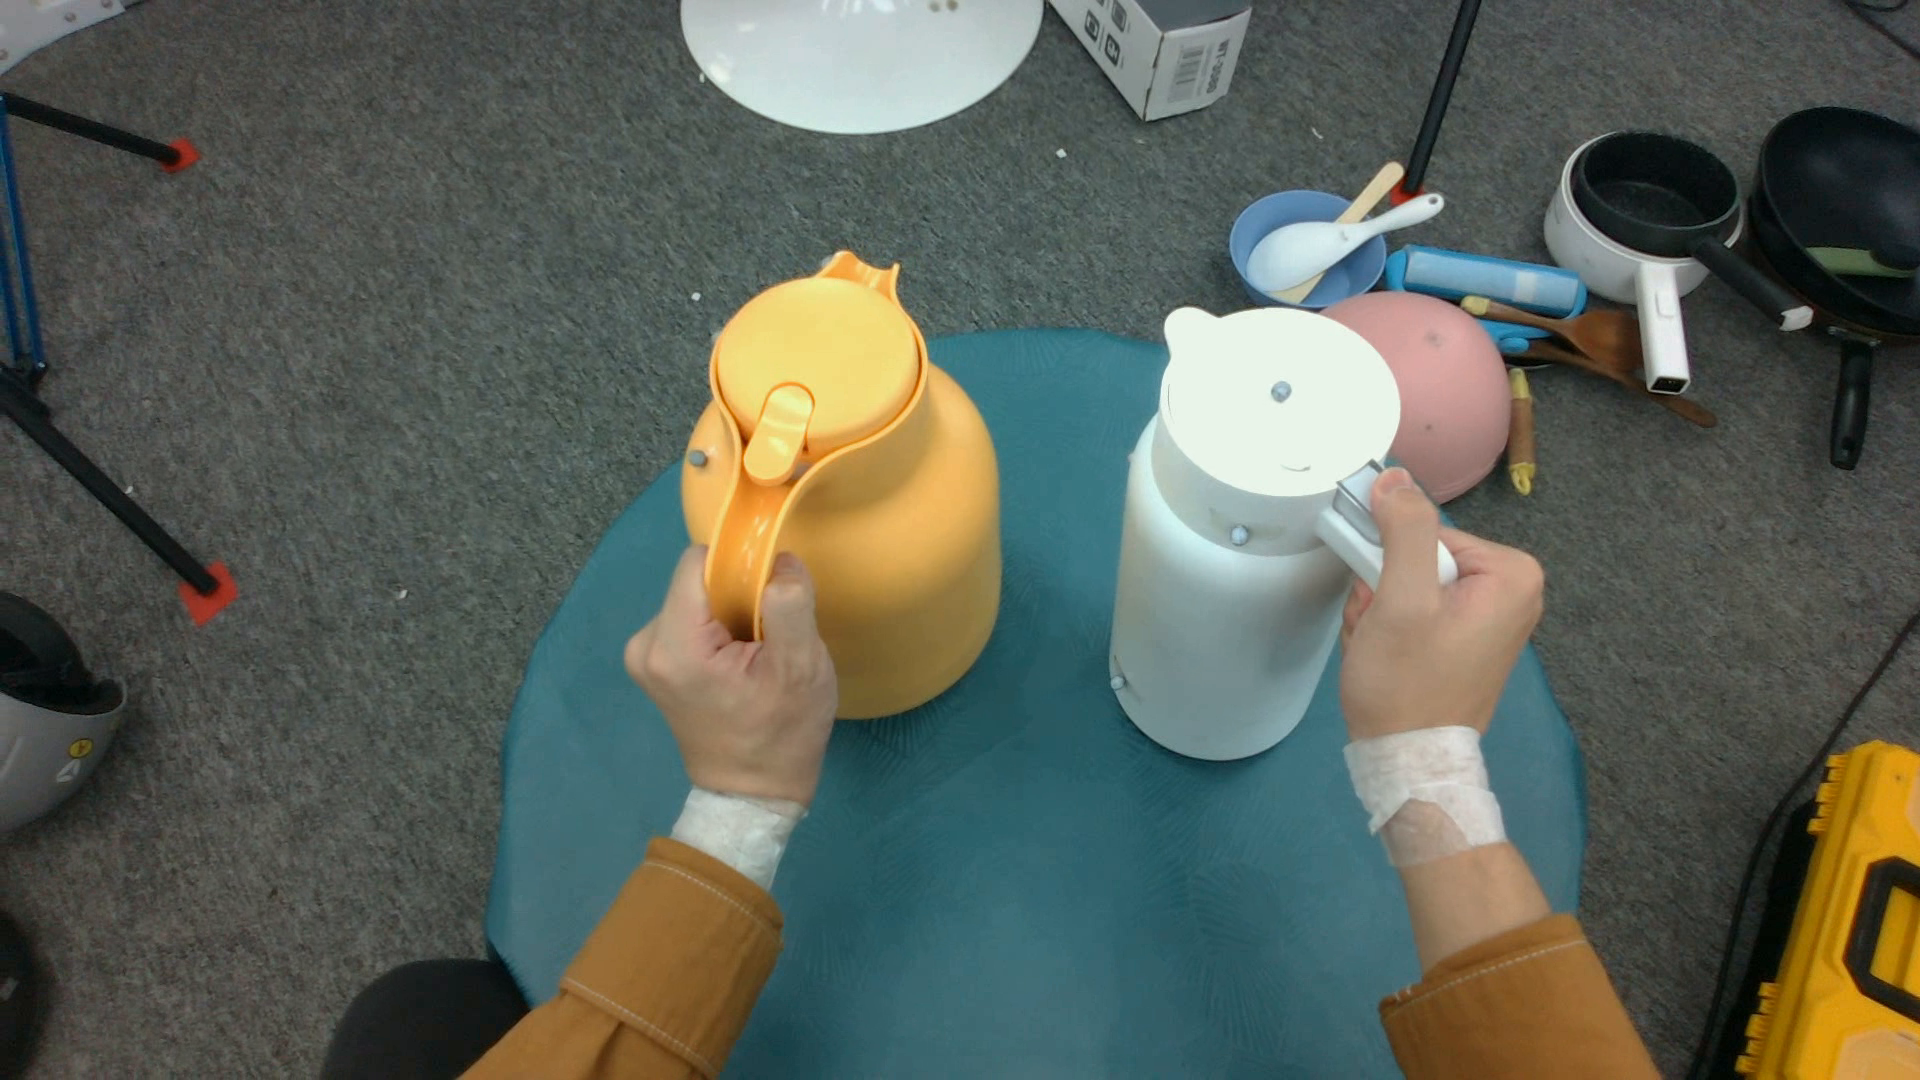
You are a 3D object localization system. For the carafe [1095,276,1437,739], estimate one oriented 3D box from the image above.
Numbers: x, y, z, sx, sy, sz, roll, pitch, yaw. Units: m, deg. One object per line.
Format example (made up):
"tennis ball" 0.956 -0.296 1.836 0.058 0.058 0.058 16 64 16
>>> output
"carafe" 0.141 0.008 0.680 0.124 0.267 0.173 -32 63 -18

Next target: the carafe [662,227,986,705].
"carafe" -0.077 -0.016 0.697 0.163 0.259 0.203 16 61 12
